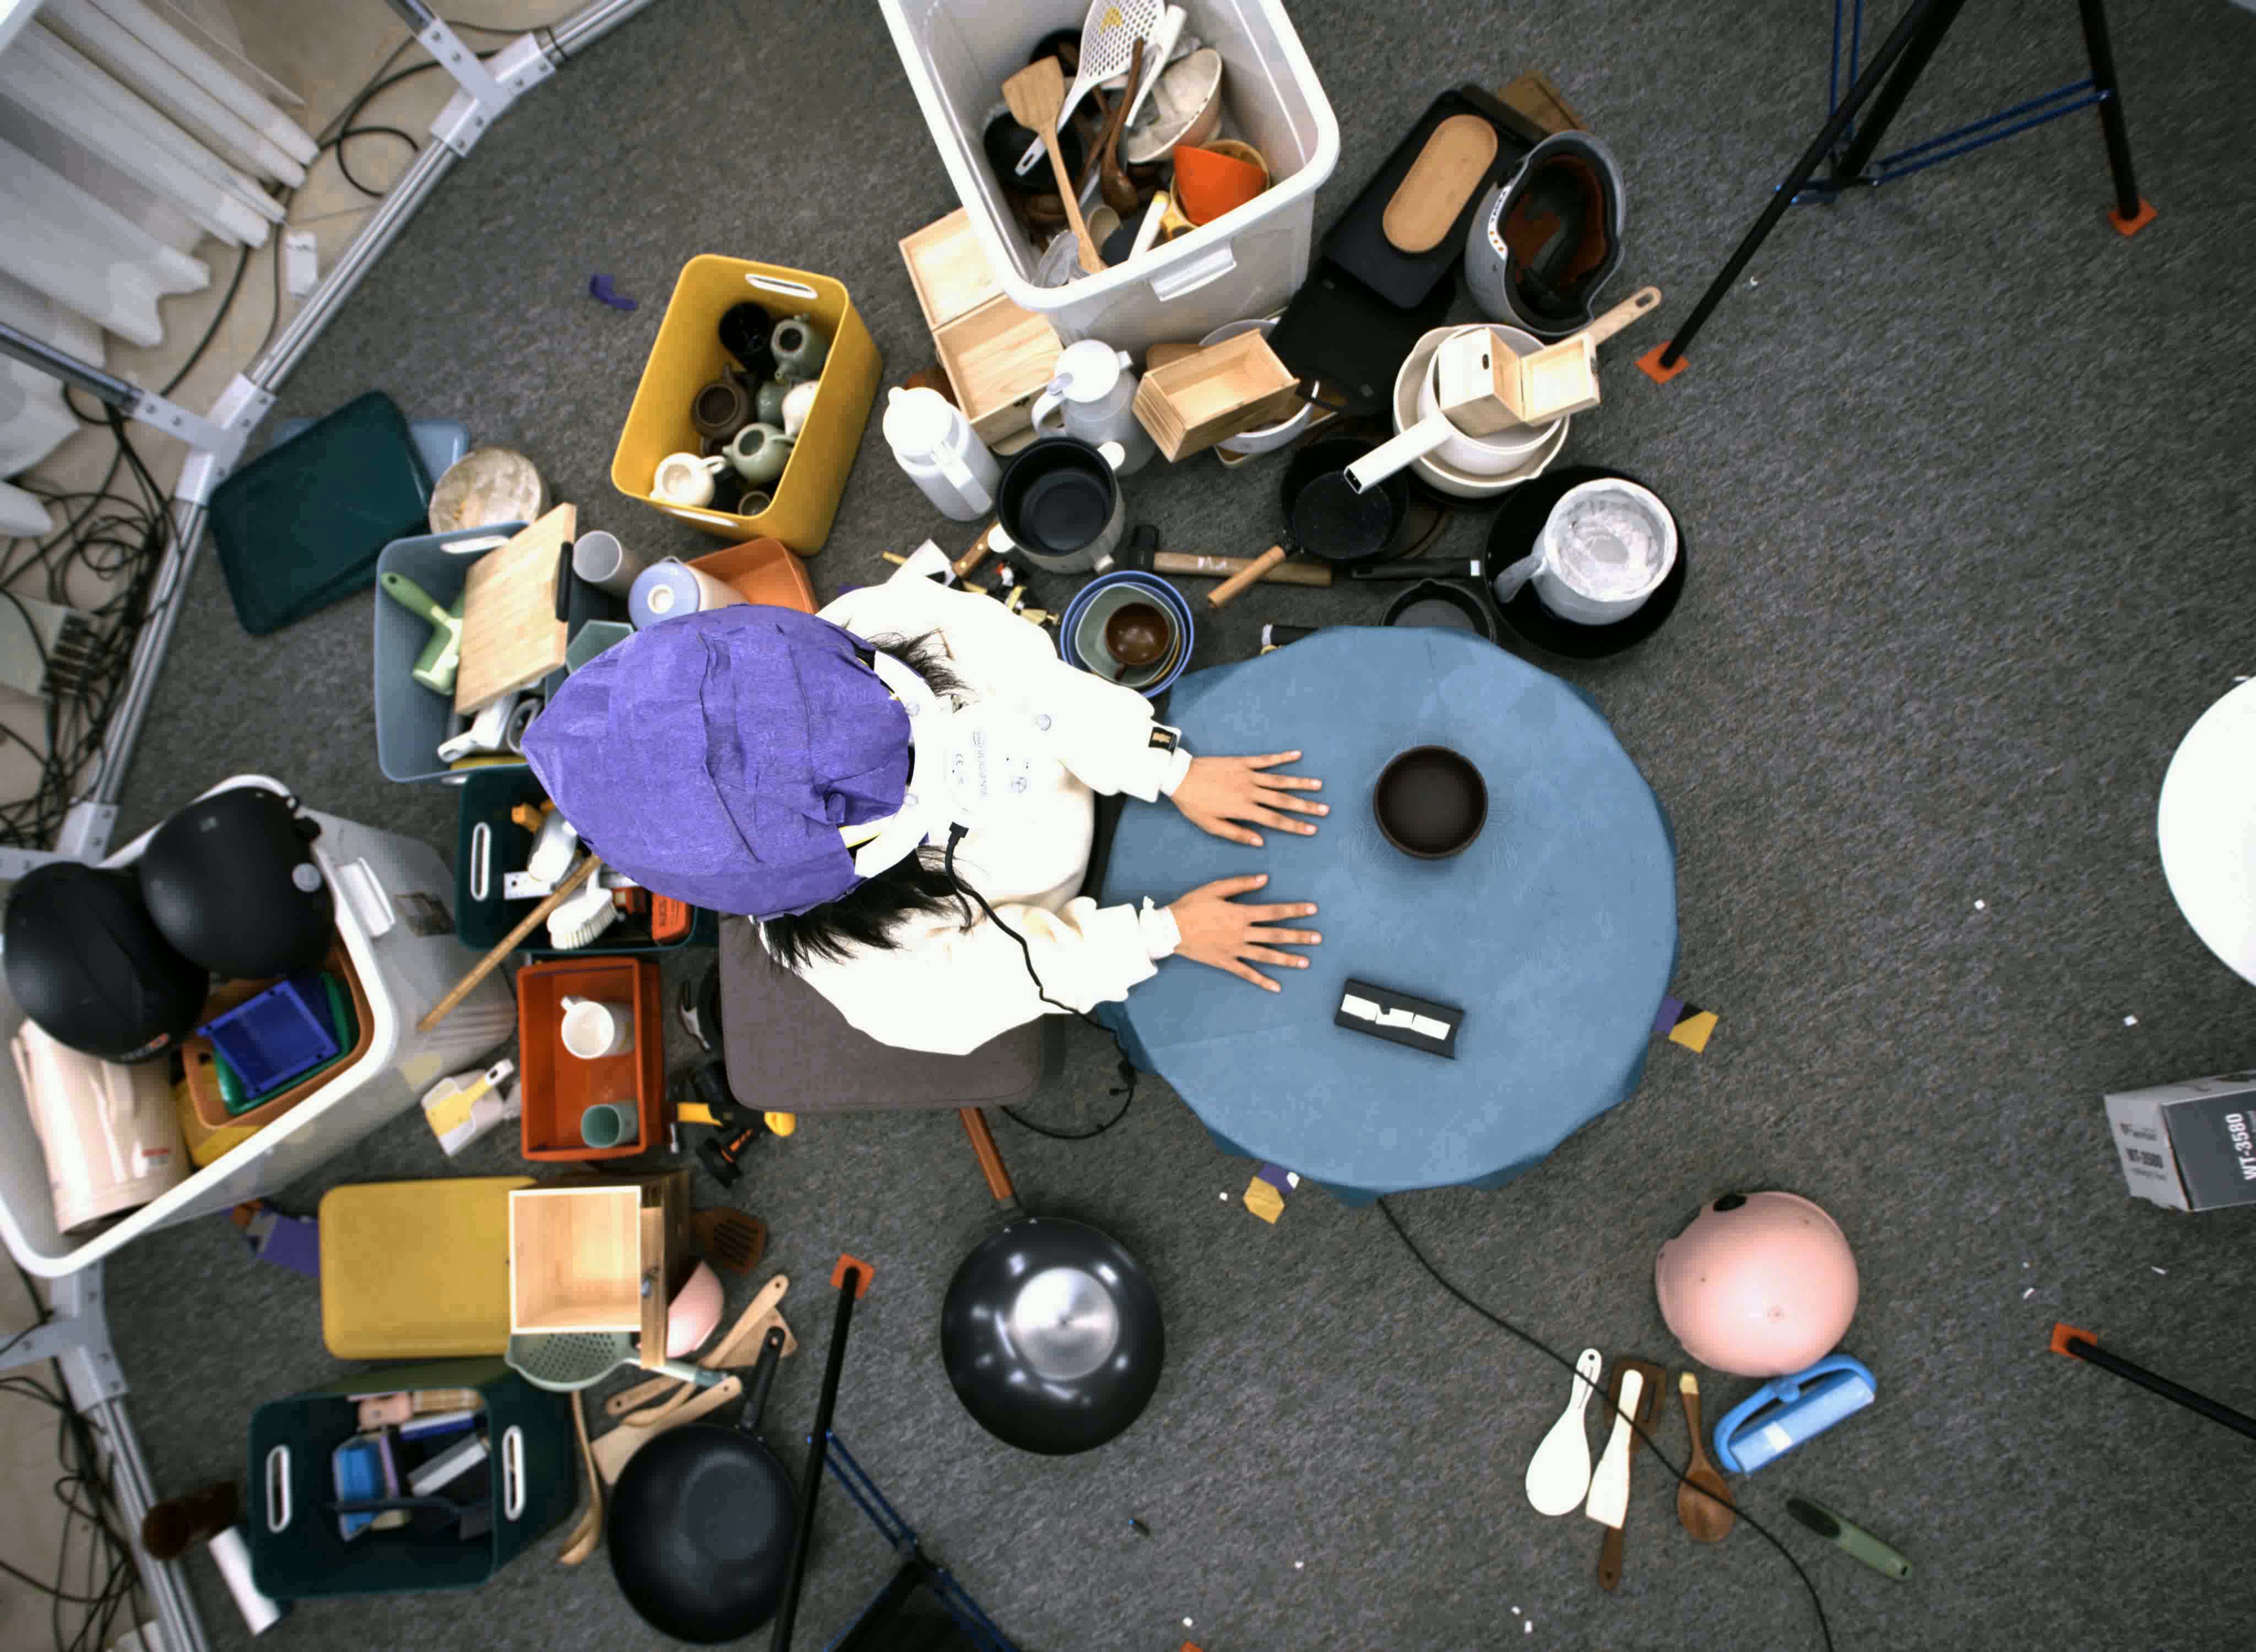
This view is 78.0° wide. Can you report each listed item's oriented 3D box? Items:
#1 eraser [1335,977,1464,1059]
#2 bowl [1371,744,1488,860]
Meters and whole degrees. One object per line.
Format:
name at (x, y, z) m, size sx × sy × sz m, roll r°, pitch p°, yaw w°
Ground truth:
eraser at (0.283, 0.198, 1.437) m, size 0.125 × 0.030 × 0.053 m, roll 15°, pitch 88°, yaw 13°
bowl at (0.311, -0.024, 1.421) m, size 0.118 × 0.070 × 0.117 m, roll -1°, pitch 86°, yaw 11°
